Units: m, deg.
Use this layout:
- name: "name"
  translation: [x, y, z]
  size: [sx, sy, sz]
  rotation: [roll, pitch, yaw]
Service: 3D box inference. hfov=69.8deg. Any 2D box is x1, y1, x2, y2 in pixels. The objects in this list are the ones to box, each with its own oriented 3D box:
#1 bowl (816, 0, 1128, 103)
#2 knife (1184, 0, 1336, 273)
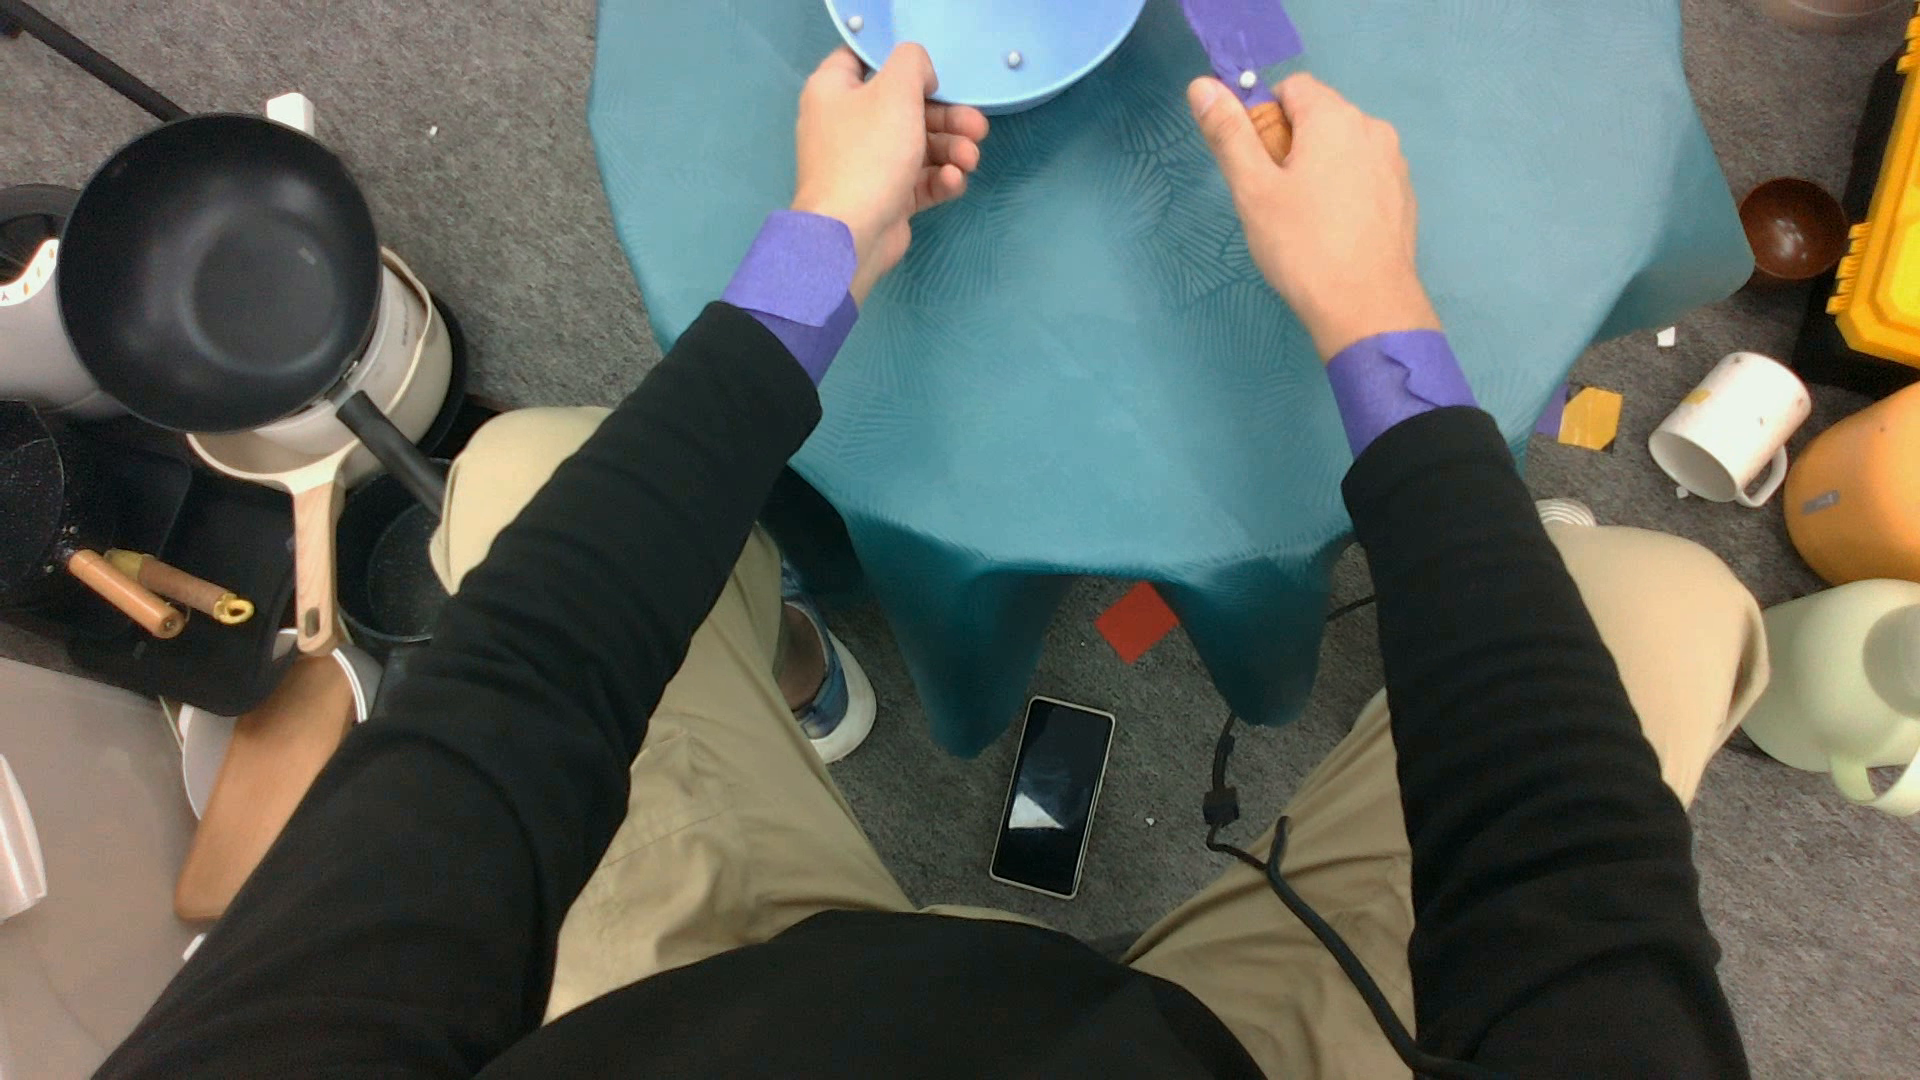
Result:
- name: "bowl"
  translation: [0.011, -0.306, 0.742]
  size: [0.176, 0.070, 0.176]
  rotation: [-1, 79, 5]
- name: "knife"
  translation: [0.129, -0.290, 0.685]
  size: [0.104, 0.032, 0.315]
  rotation: [-27, 95, -40]
